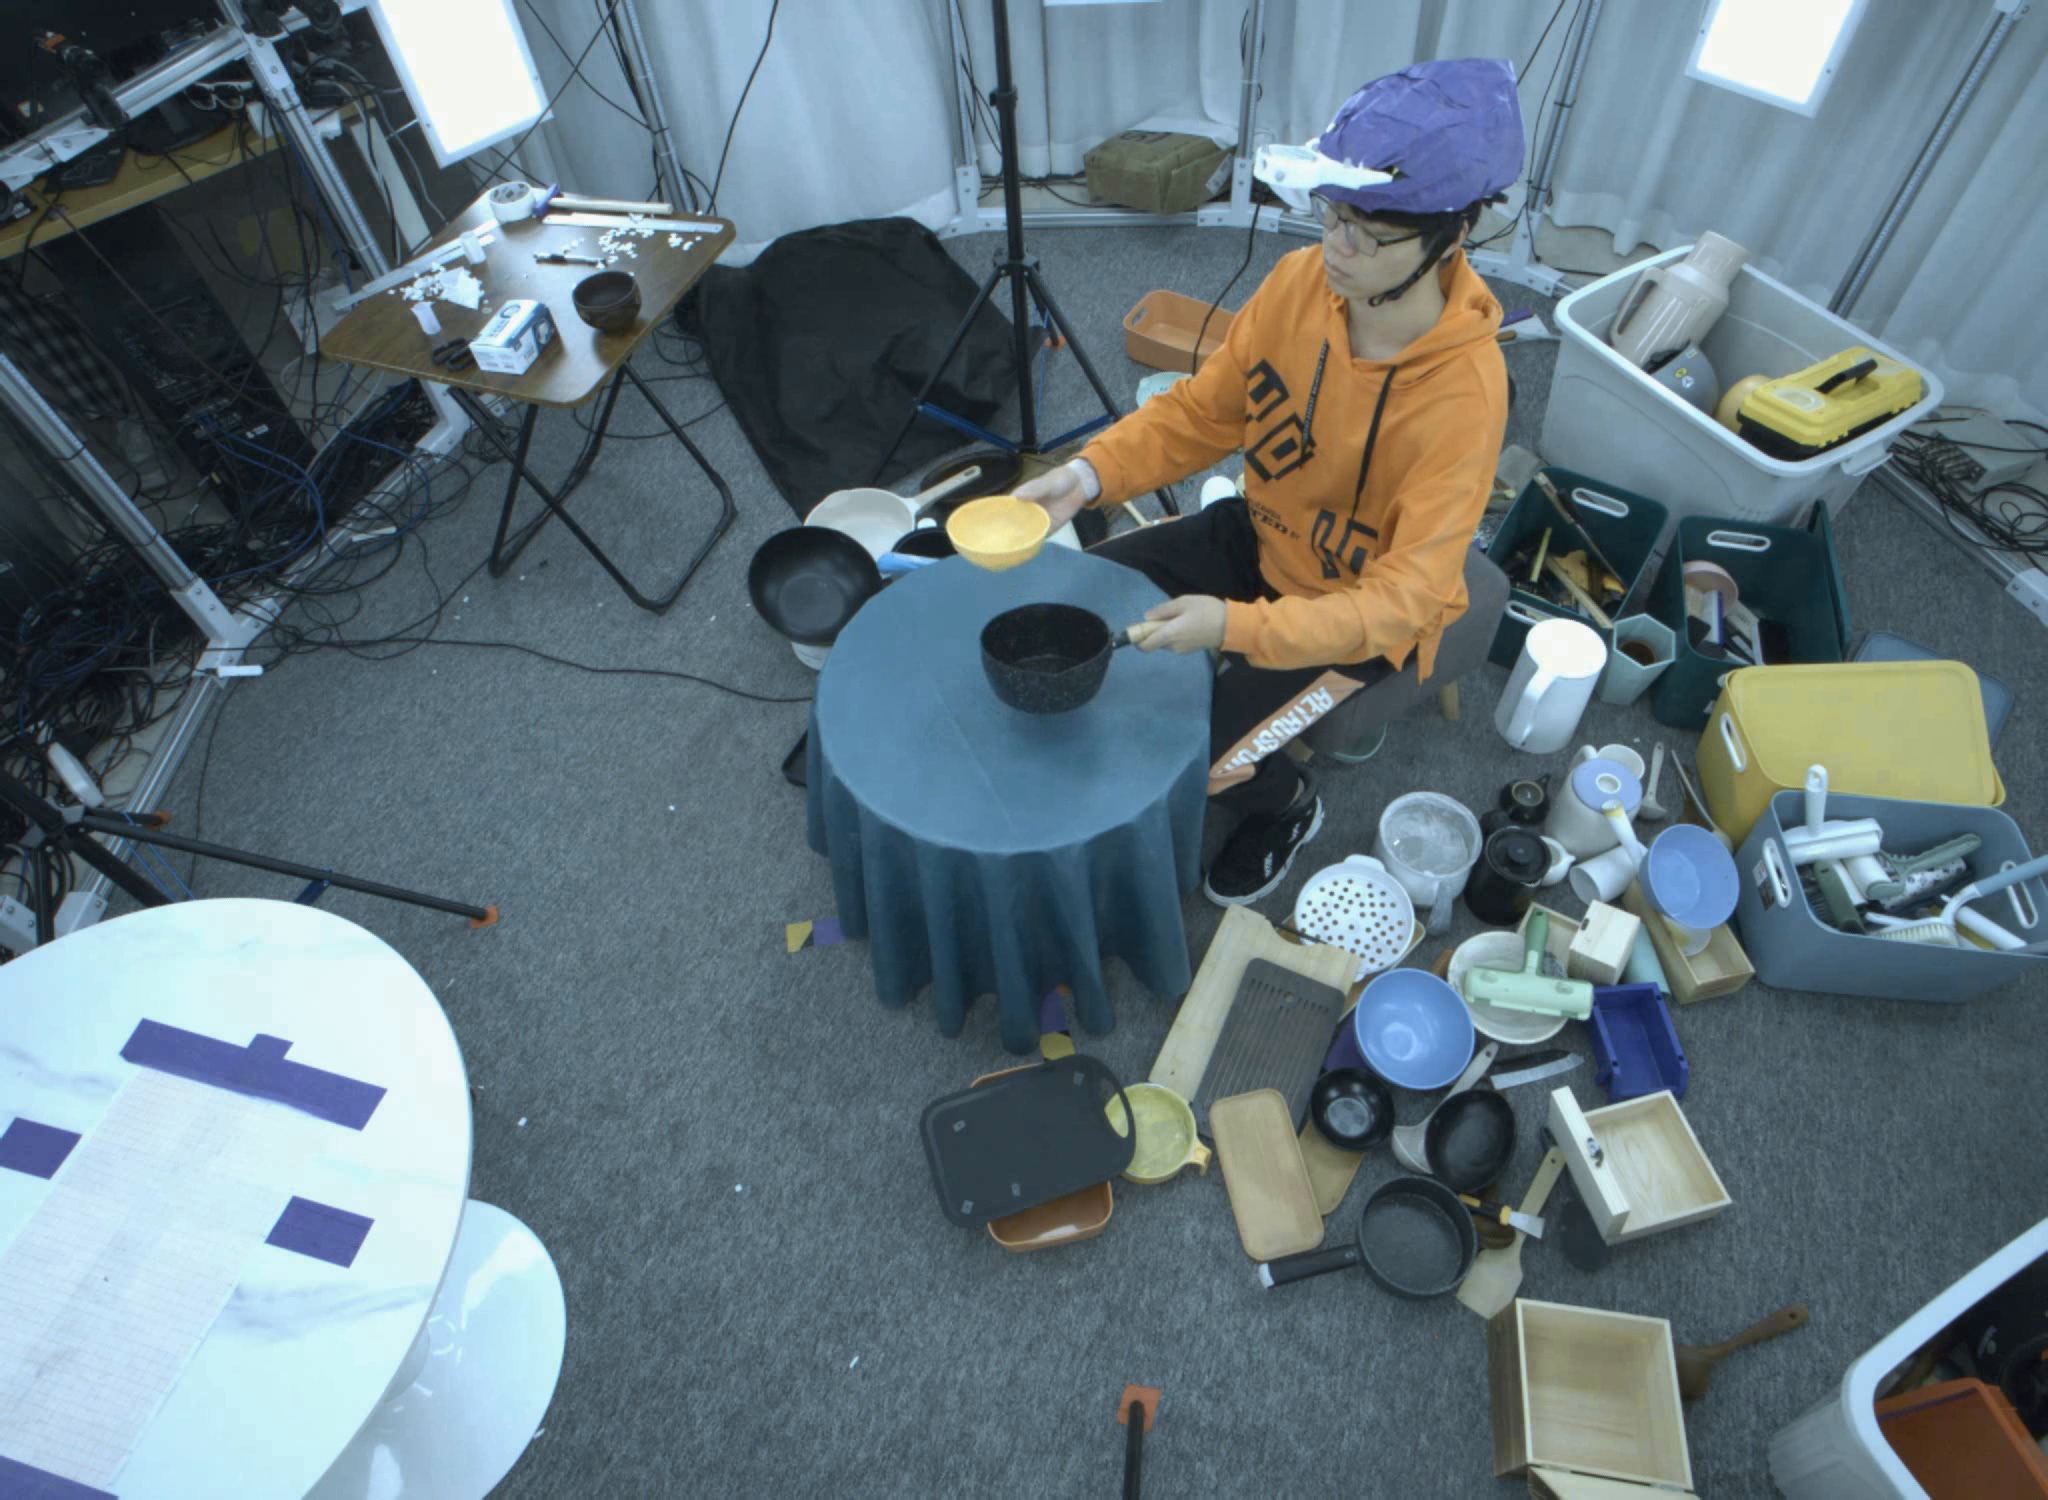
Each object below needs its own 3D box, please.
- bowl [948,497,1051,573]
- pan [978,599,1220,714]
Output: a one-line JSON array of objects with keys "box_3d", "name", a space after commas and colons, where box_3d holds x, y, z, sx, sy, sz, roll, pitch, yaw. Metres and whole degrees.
[{"box_3d": [-0.034, -0.291, 1.714, 0.145, 0.061, 0.144, 0, 44, 1], "name": "bowl"}, {"box_3d": [0.108, -0.146, 1.744, 0.344, 0.109, 0.204, -8, 37, -6], "name": "pan"}]
